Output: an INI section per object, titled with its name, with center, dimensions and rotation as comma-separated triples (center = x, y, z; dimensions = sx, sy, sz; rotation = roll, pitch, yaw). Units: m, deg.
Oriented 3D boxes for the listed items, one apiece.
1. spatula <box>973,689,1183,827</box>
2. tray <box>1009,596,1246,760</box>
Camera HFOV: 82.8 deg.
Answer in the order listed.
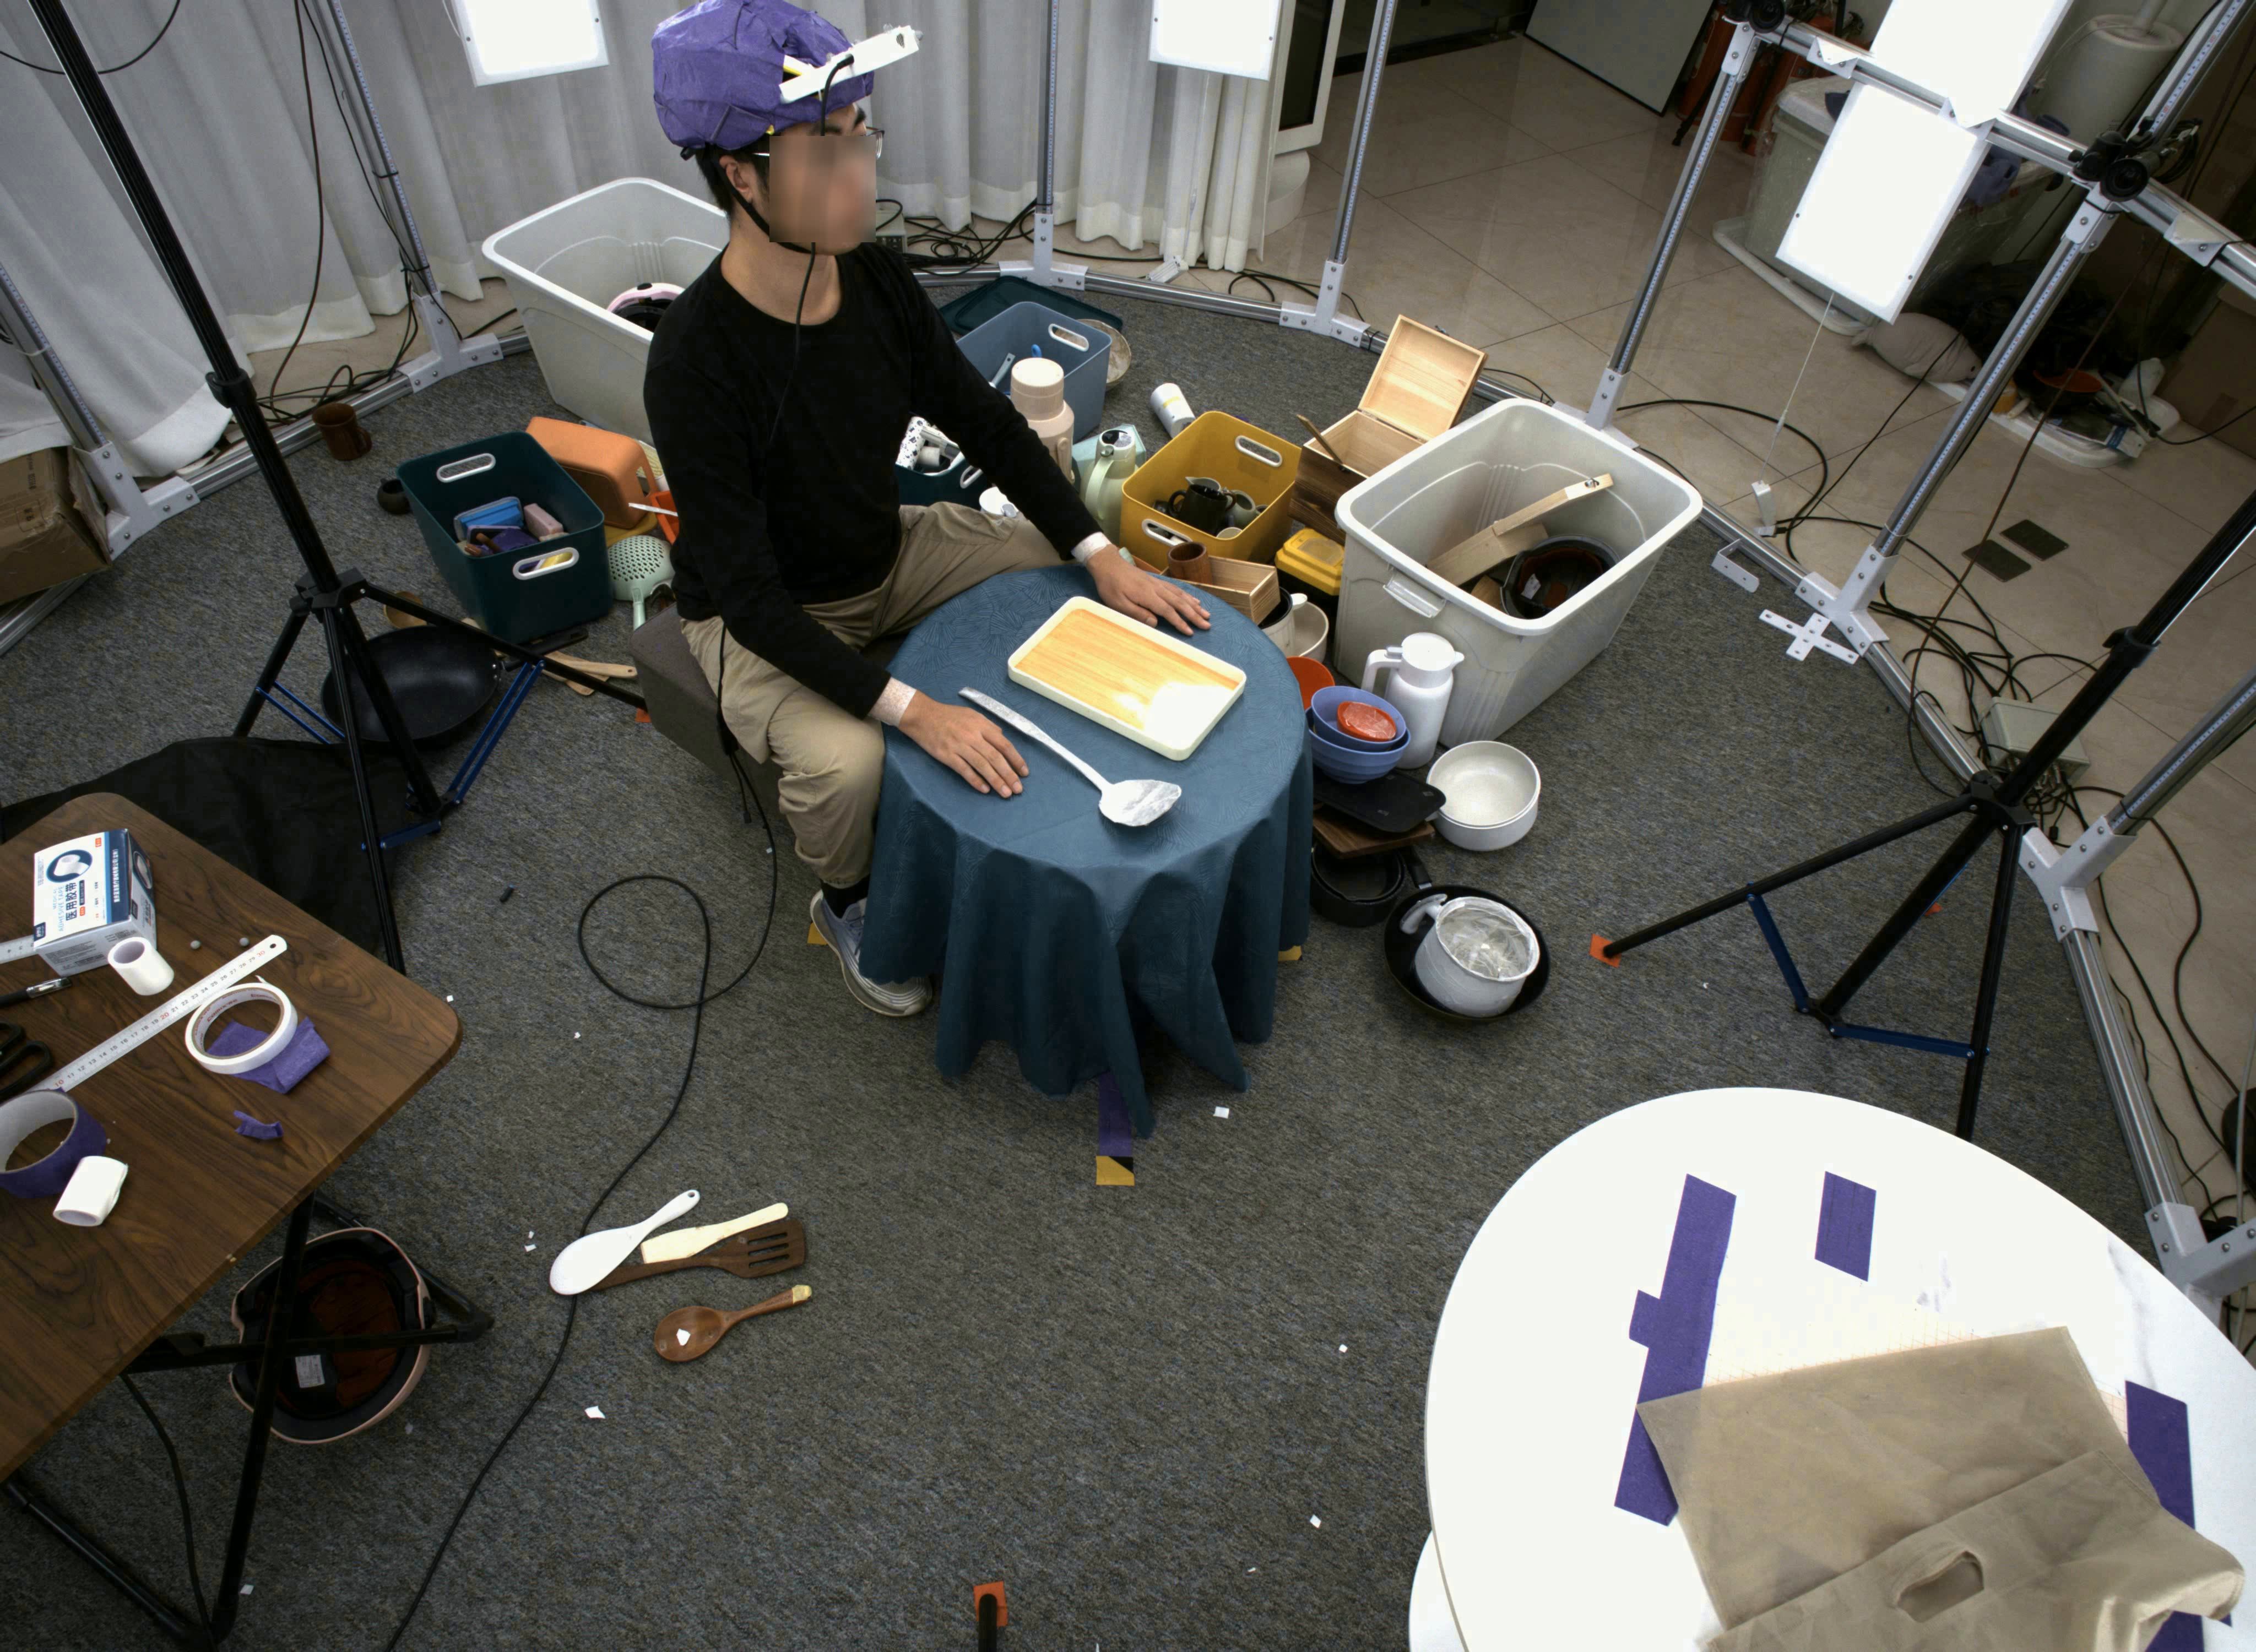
[spatula]
center = -0.087, -0.104, 1.730
dimensions = 0.370, 0.044, 0.100
rotation = 36, 56, 24
[tray]
center = -0.001, -0.217, 1.840
dimensions = 0.303, 0.027, 0.194
rotation = 28, 53, 19
